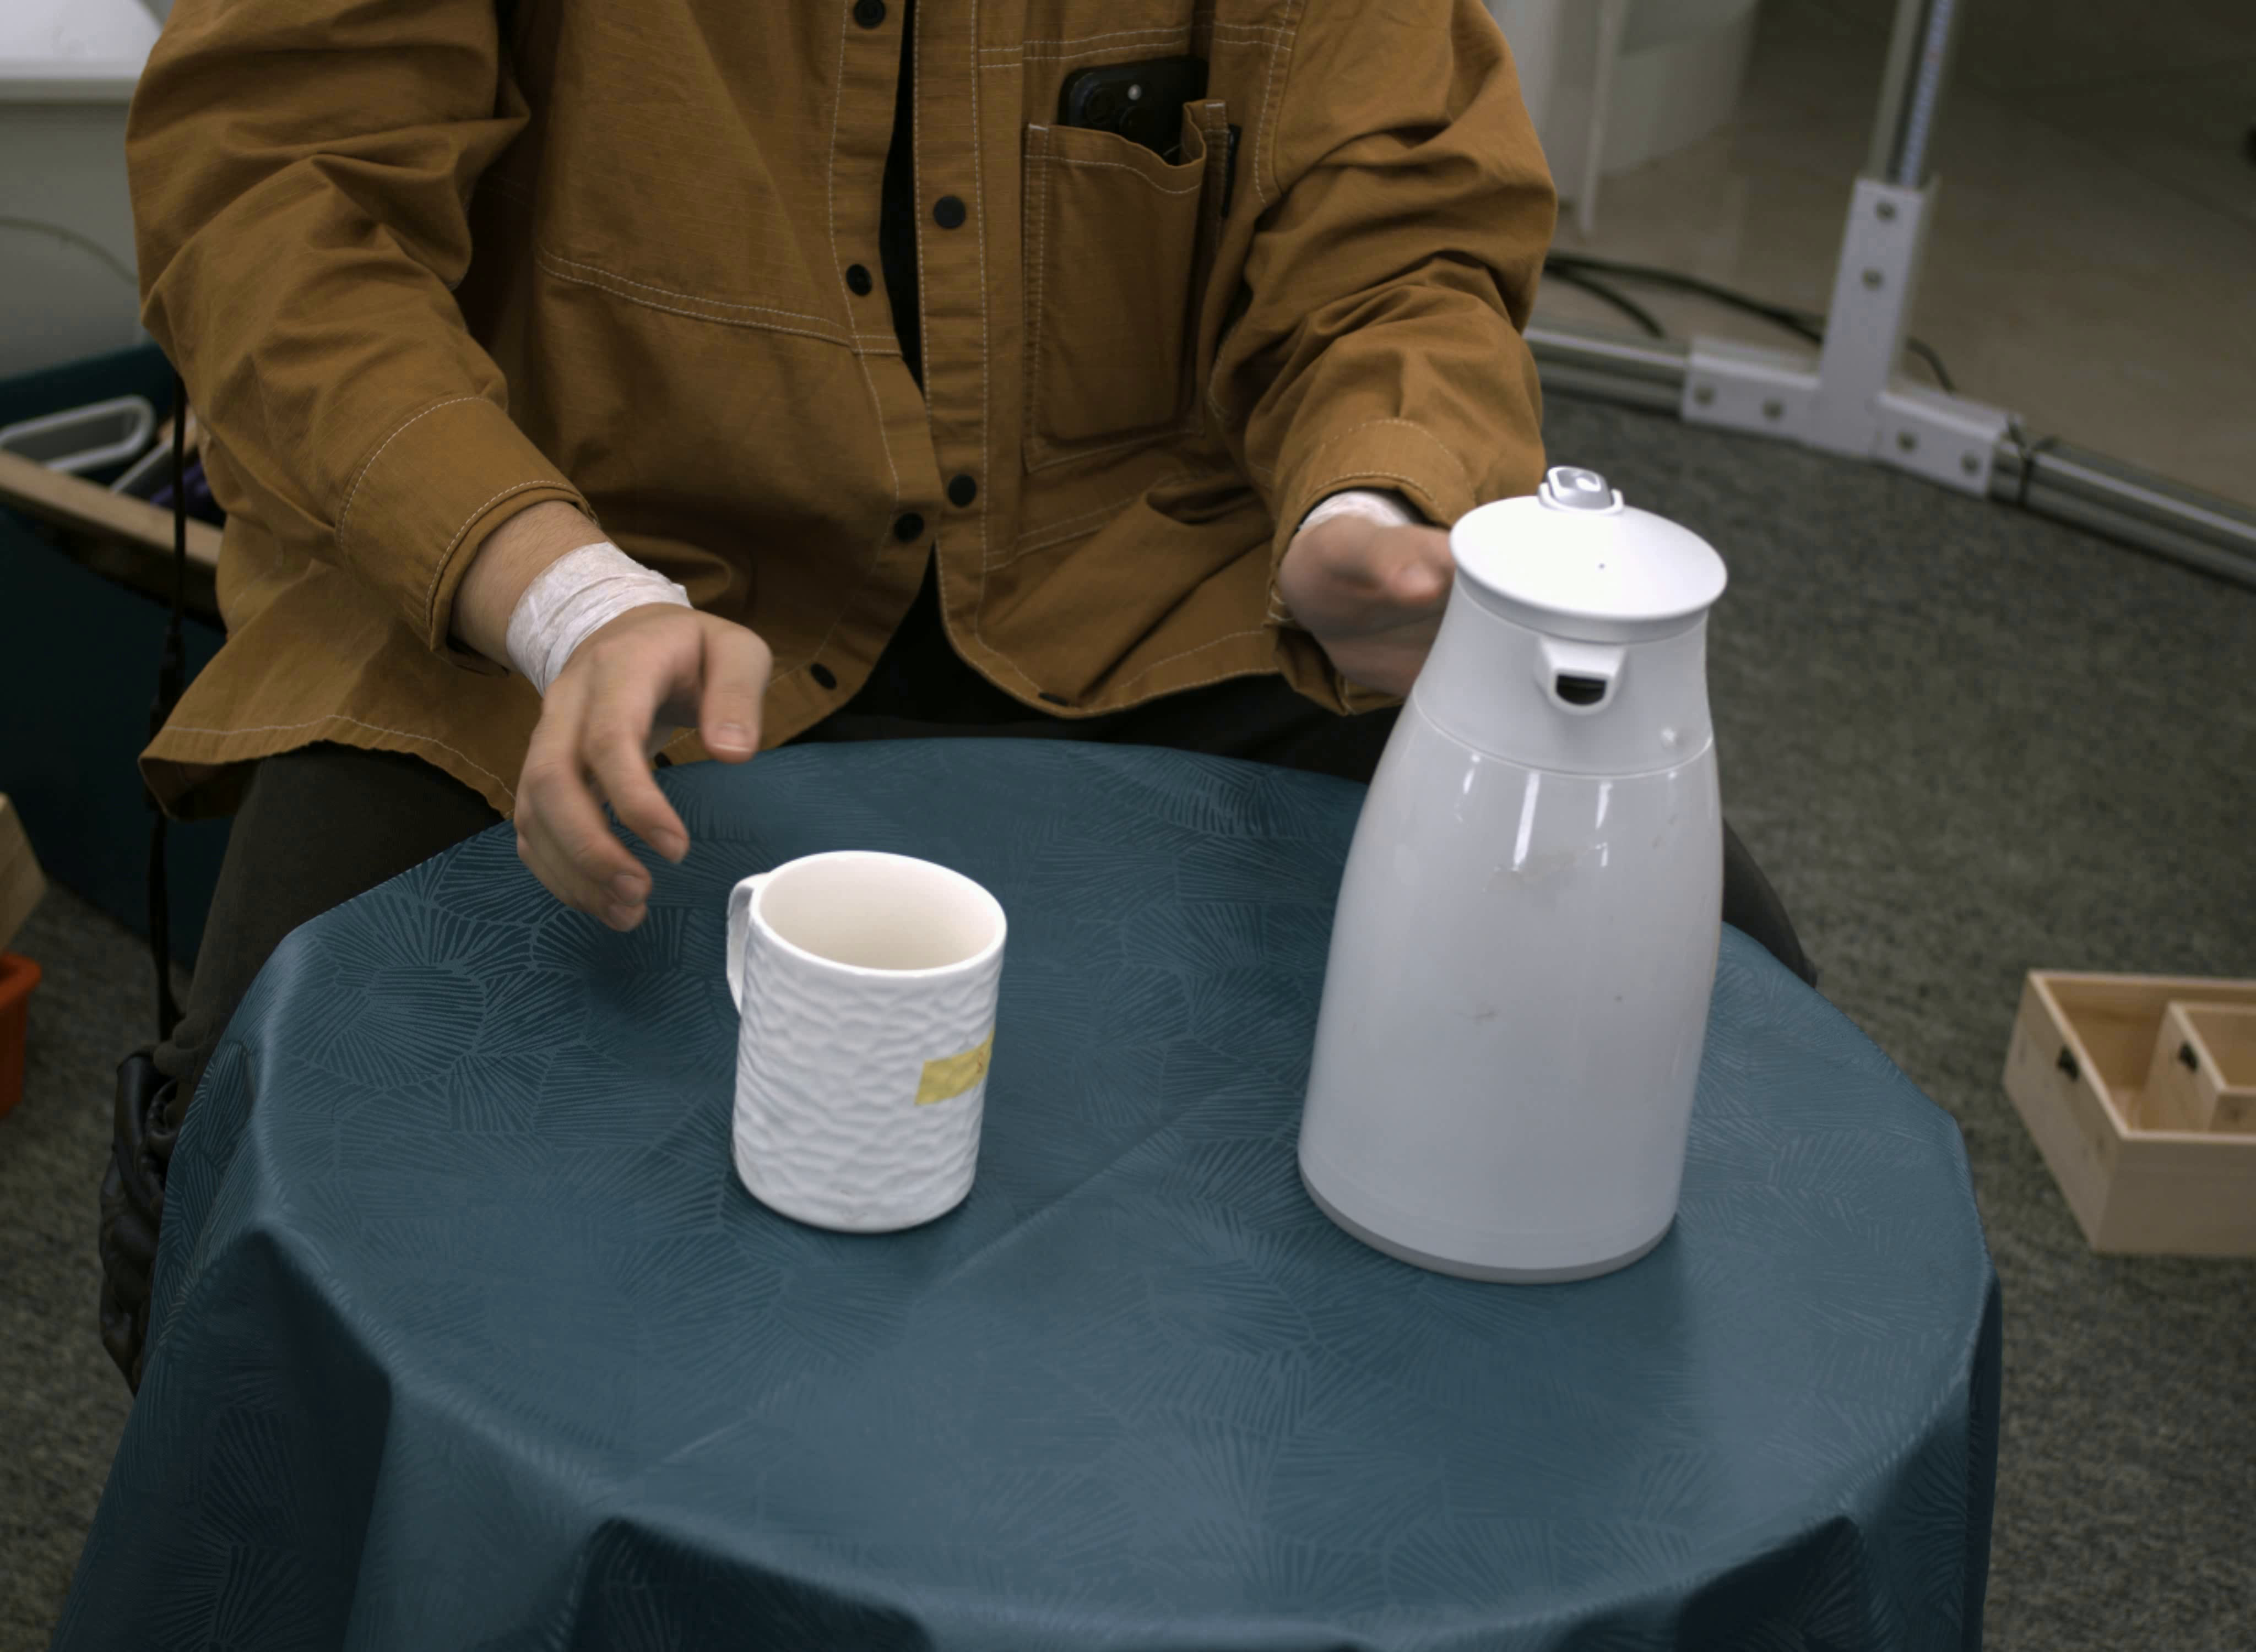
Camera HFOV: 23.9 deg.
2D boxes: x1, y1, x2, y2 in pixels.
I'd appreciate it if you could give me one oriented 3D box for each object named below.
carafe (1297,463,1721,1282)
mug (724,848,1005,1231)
[{"bbox_3d":[0.135,0.005,1.796,0.132,0.248,0.168,6,26,0],"label":"carafe"},{"bbox_3d":[-0.098,0.065,1.785,0.084,0.101,0.119,-14,33,-36],"label":"mug"}]
